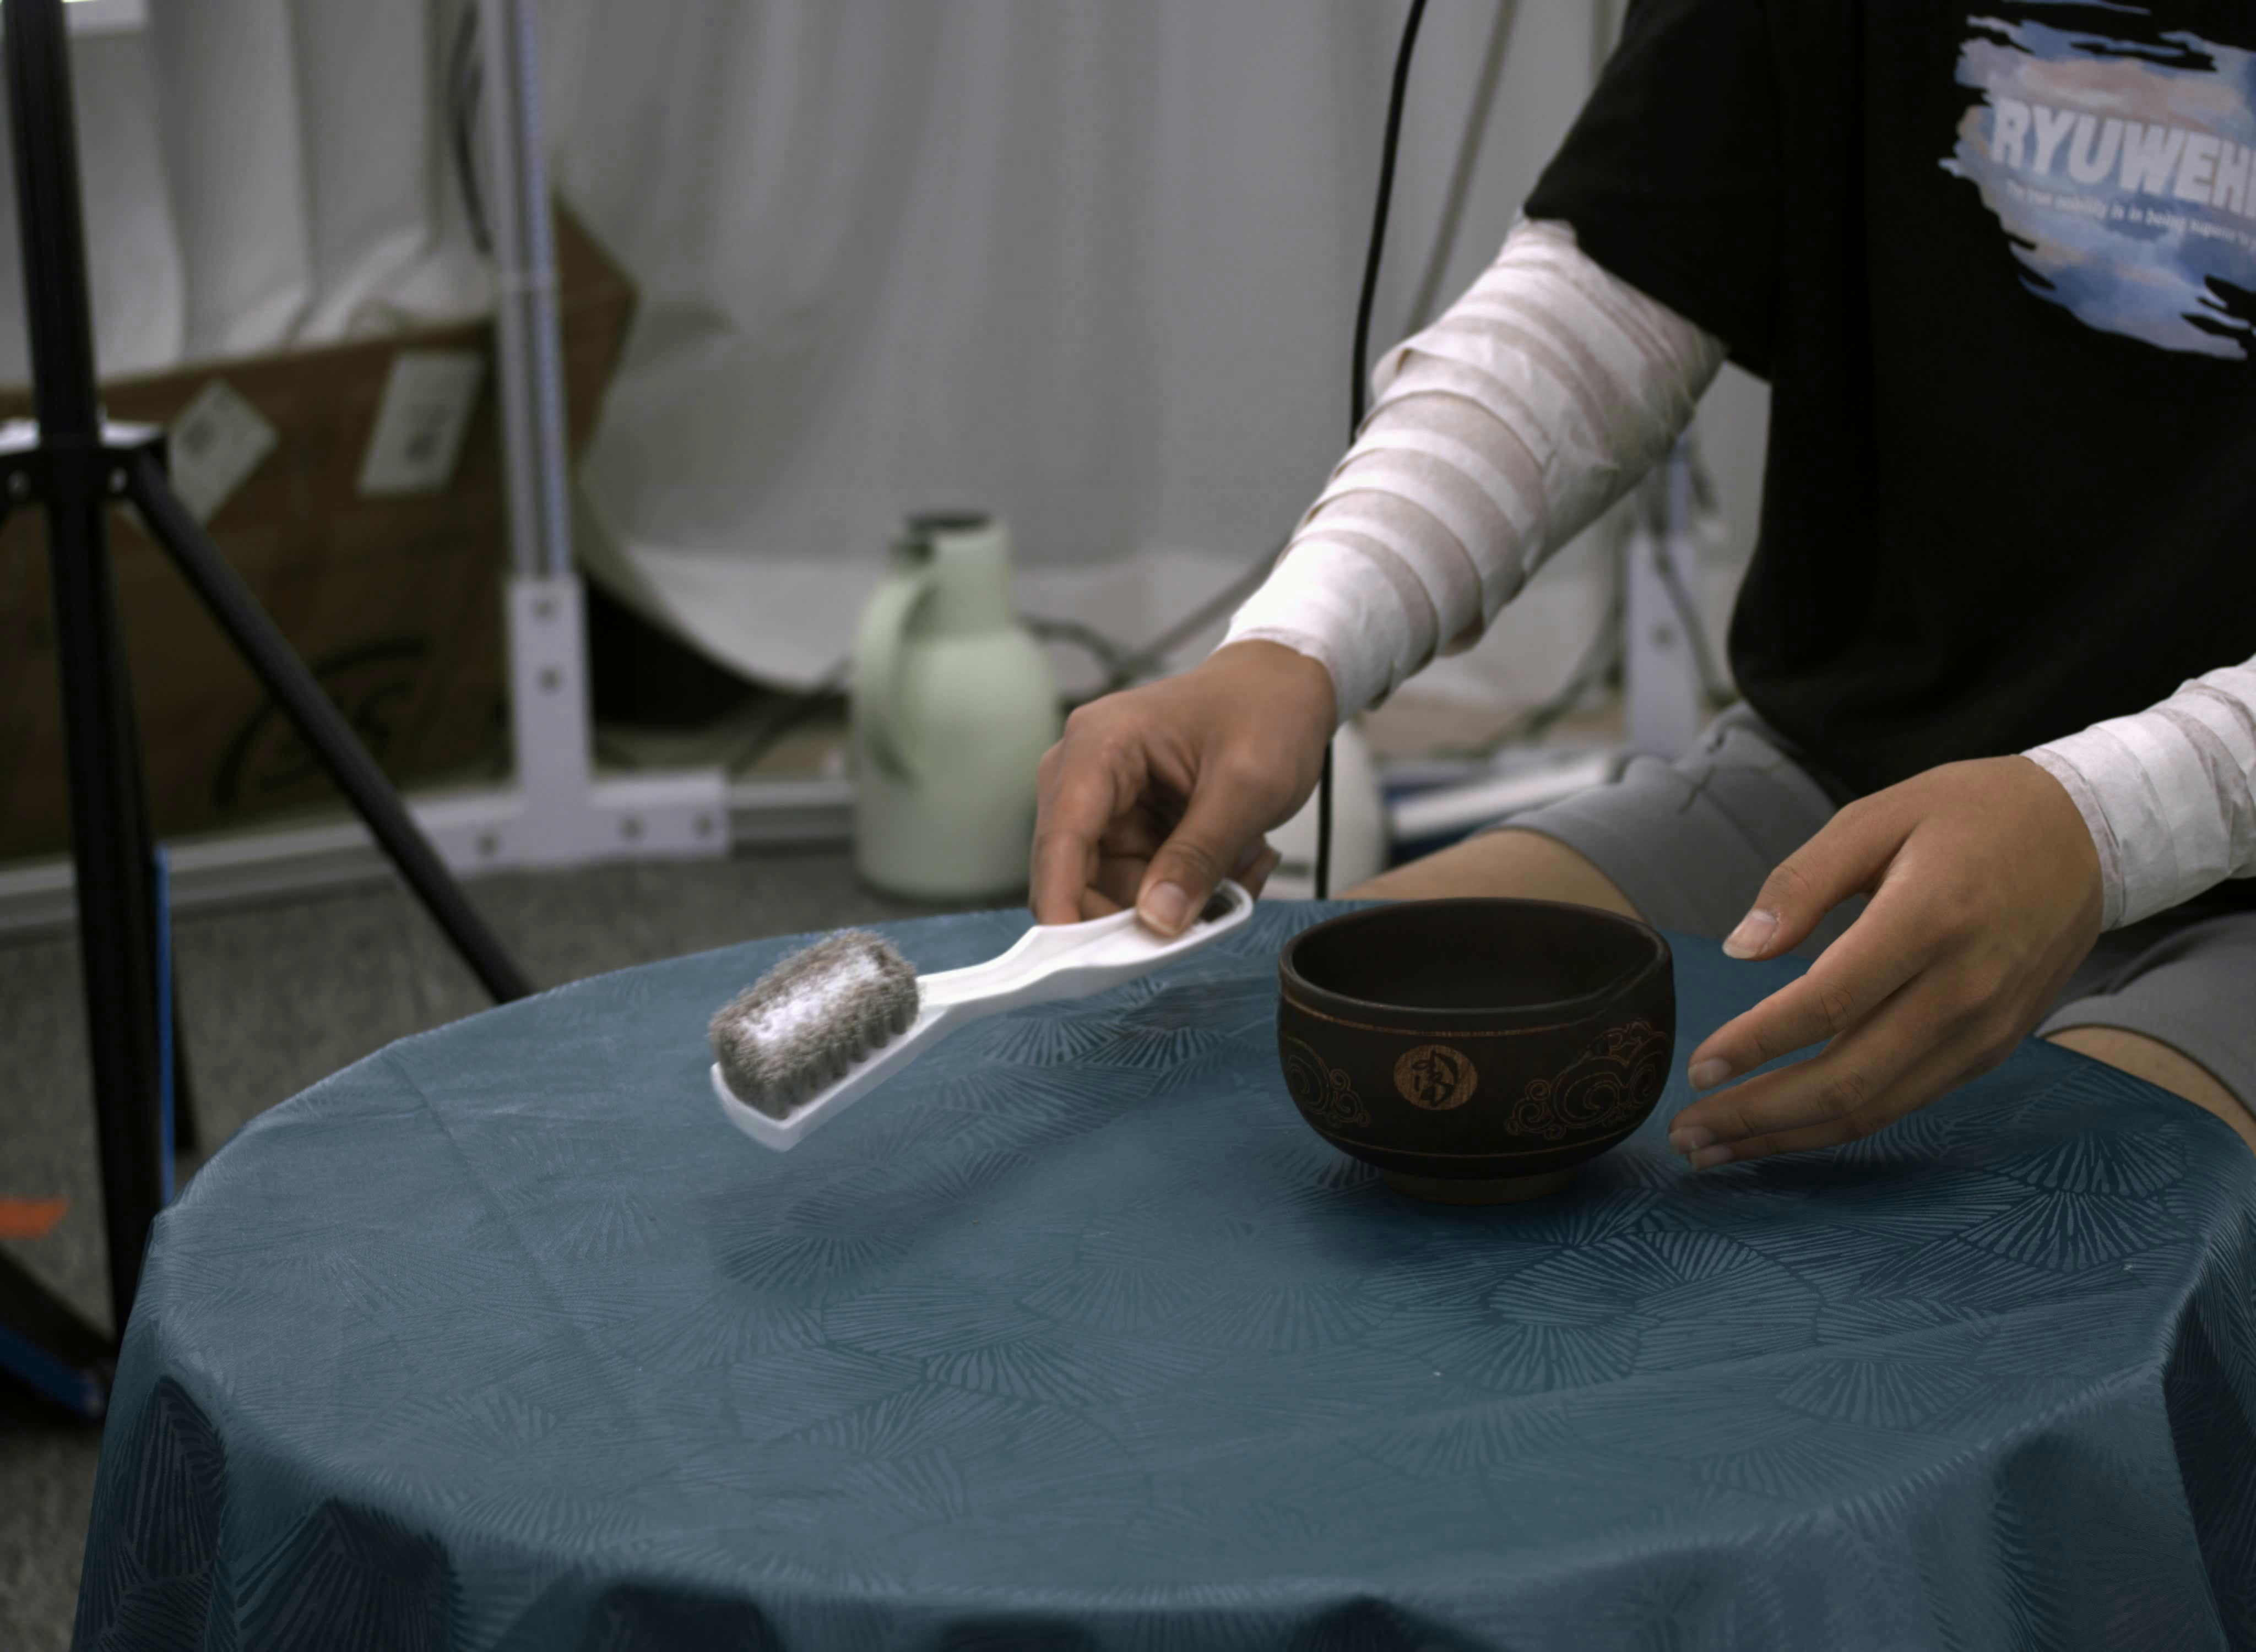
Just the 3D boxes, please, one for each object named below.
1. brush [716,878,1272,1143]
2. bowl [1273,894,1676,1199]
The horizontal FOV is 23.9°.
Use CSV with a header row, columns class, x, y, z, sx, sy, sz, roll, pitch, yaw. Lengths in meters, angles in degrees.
class,x,y,z,sx,sy,sz,roll,pitch,yaw
brush,-0.032,0.039,1.605,0.238,0.050,0.035,-21,51,-44
bowl,0.102,0.068,1.551,0.117,0.070,0.118,-2,14,-1
